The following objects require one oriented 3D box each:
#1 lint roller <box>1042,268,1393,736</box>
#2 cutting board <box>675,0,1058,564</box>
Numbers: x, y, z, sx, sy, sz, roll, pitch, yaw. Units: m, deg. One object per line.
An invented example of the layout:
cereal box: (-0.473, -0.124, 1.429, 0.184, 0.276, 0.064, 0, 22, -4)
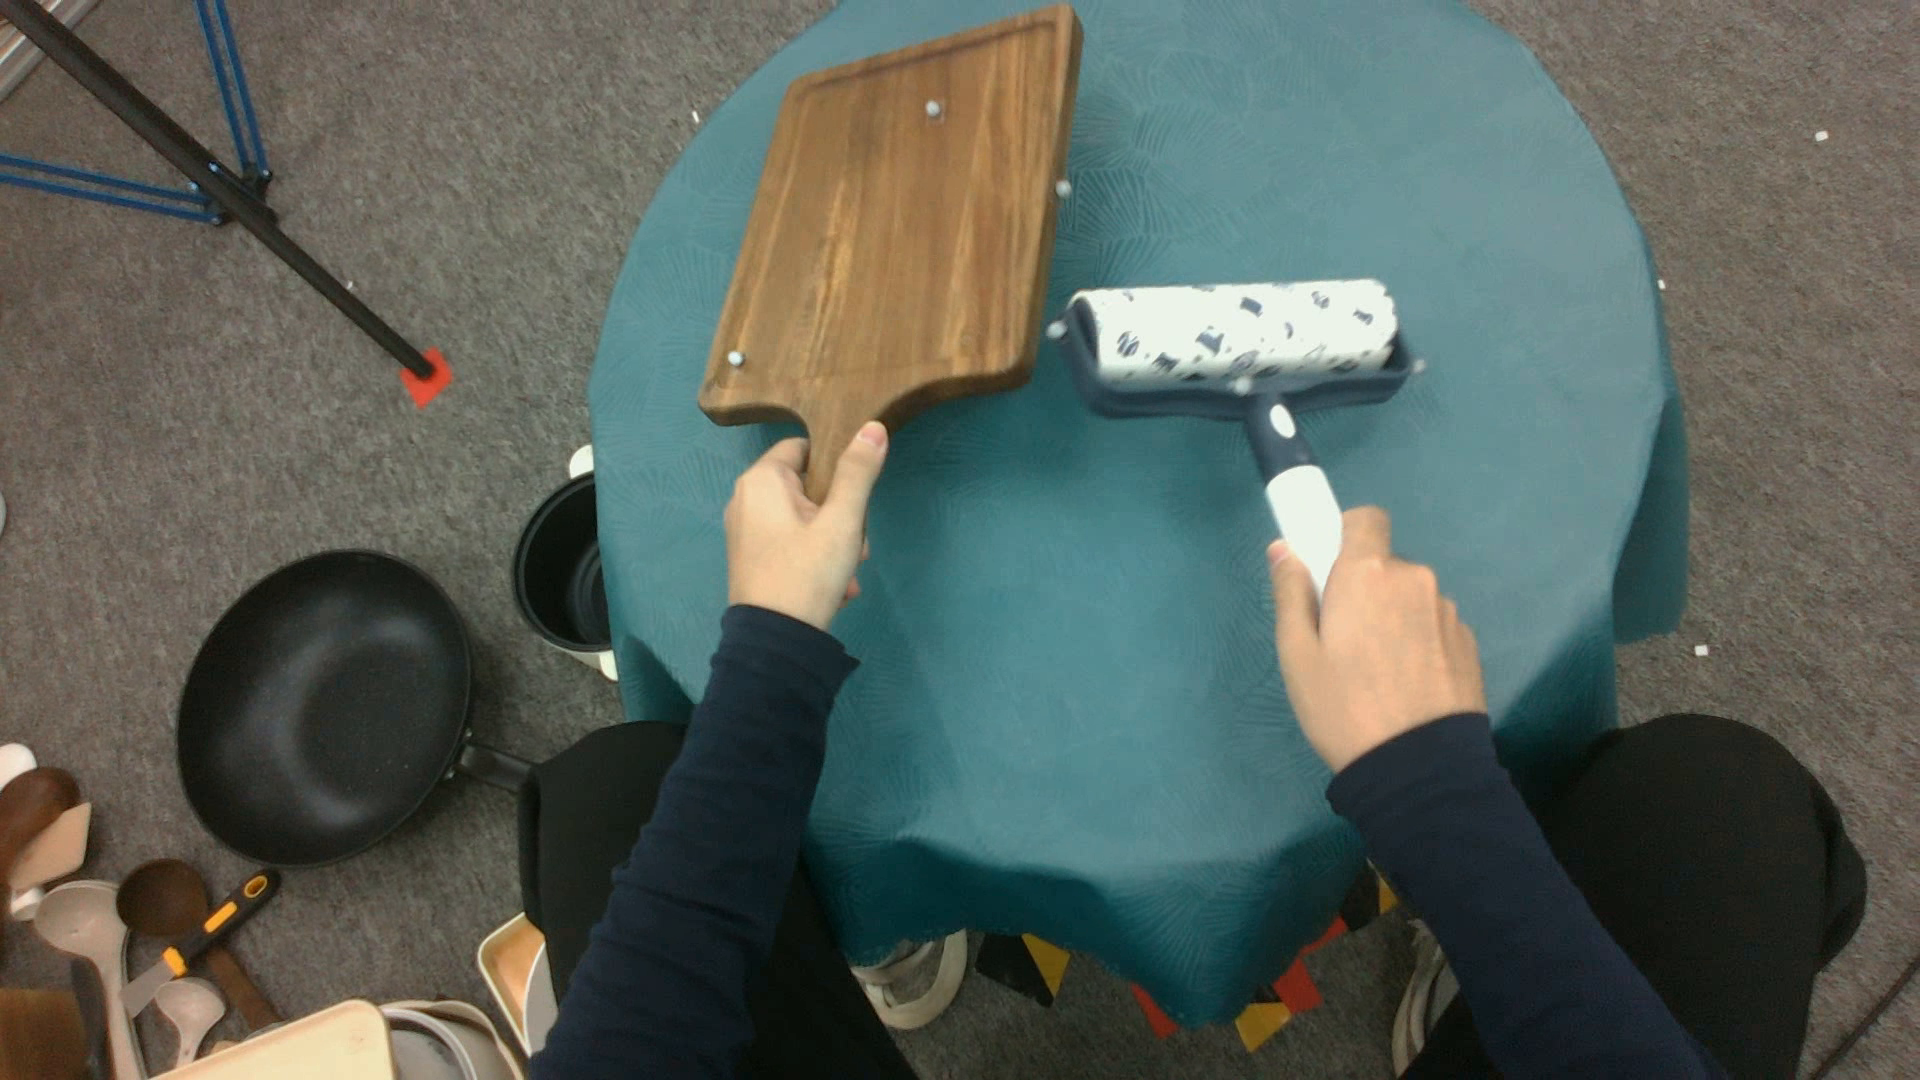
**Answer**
lint roller: (0.152, -0.028, 0.642, 0.176, 0.050, 0.248, -5, 59, -18)
cutting board: (-0.056, -0.146, 0.750, 0.200, 0.023, 0.353, -5, 60, 24)
